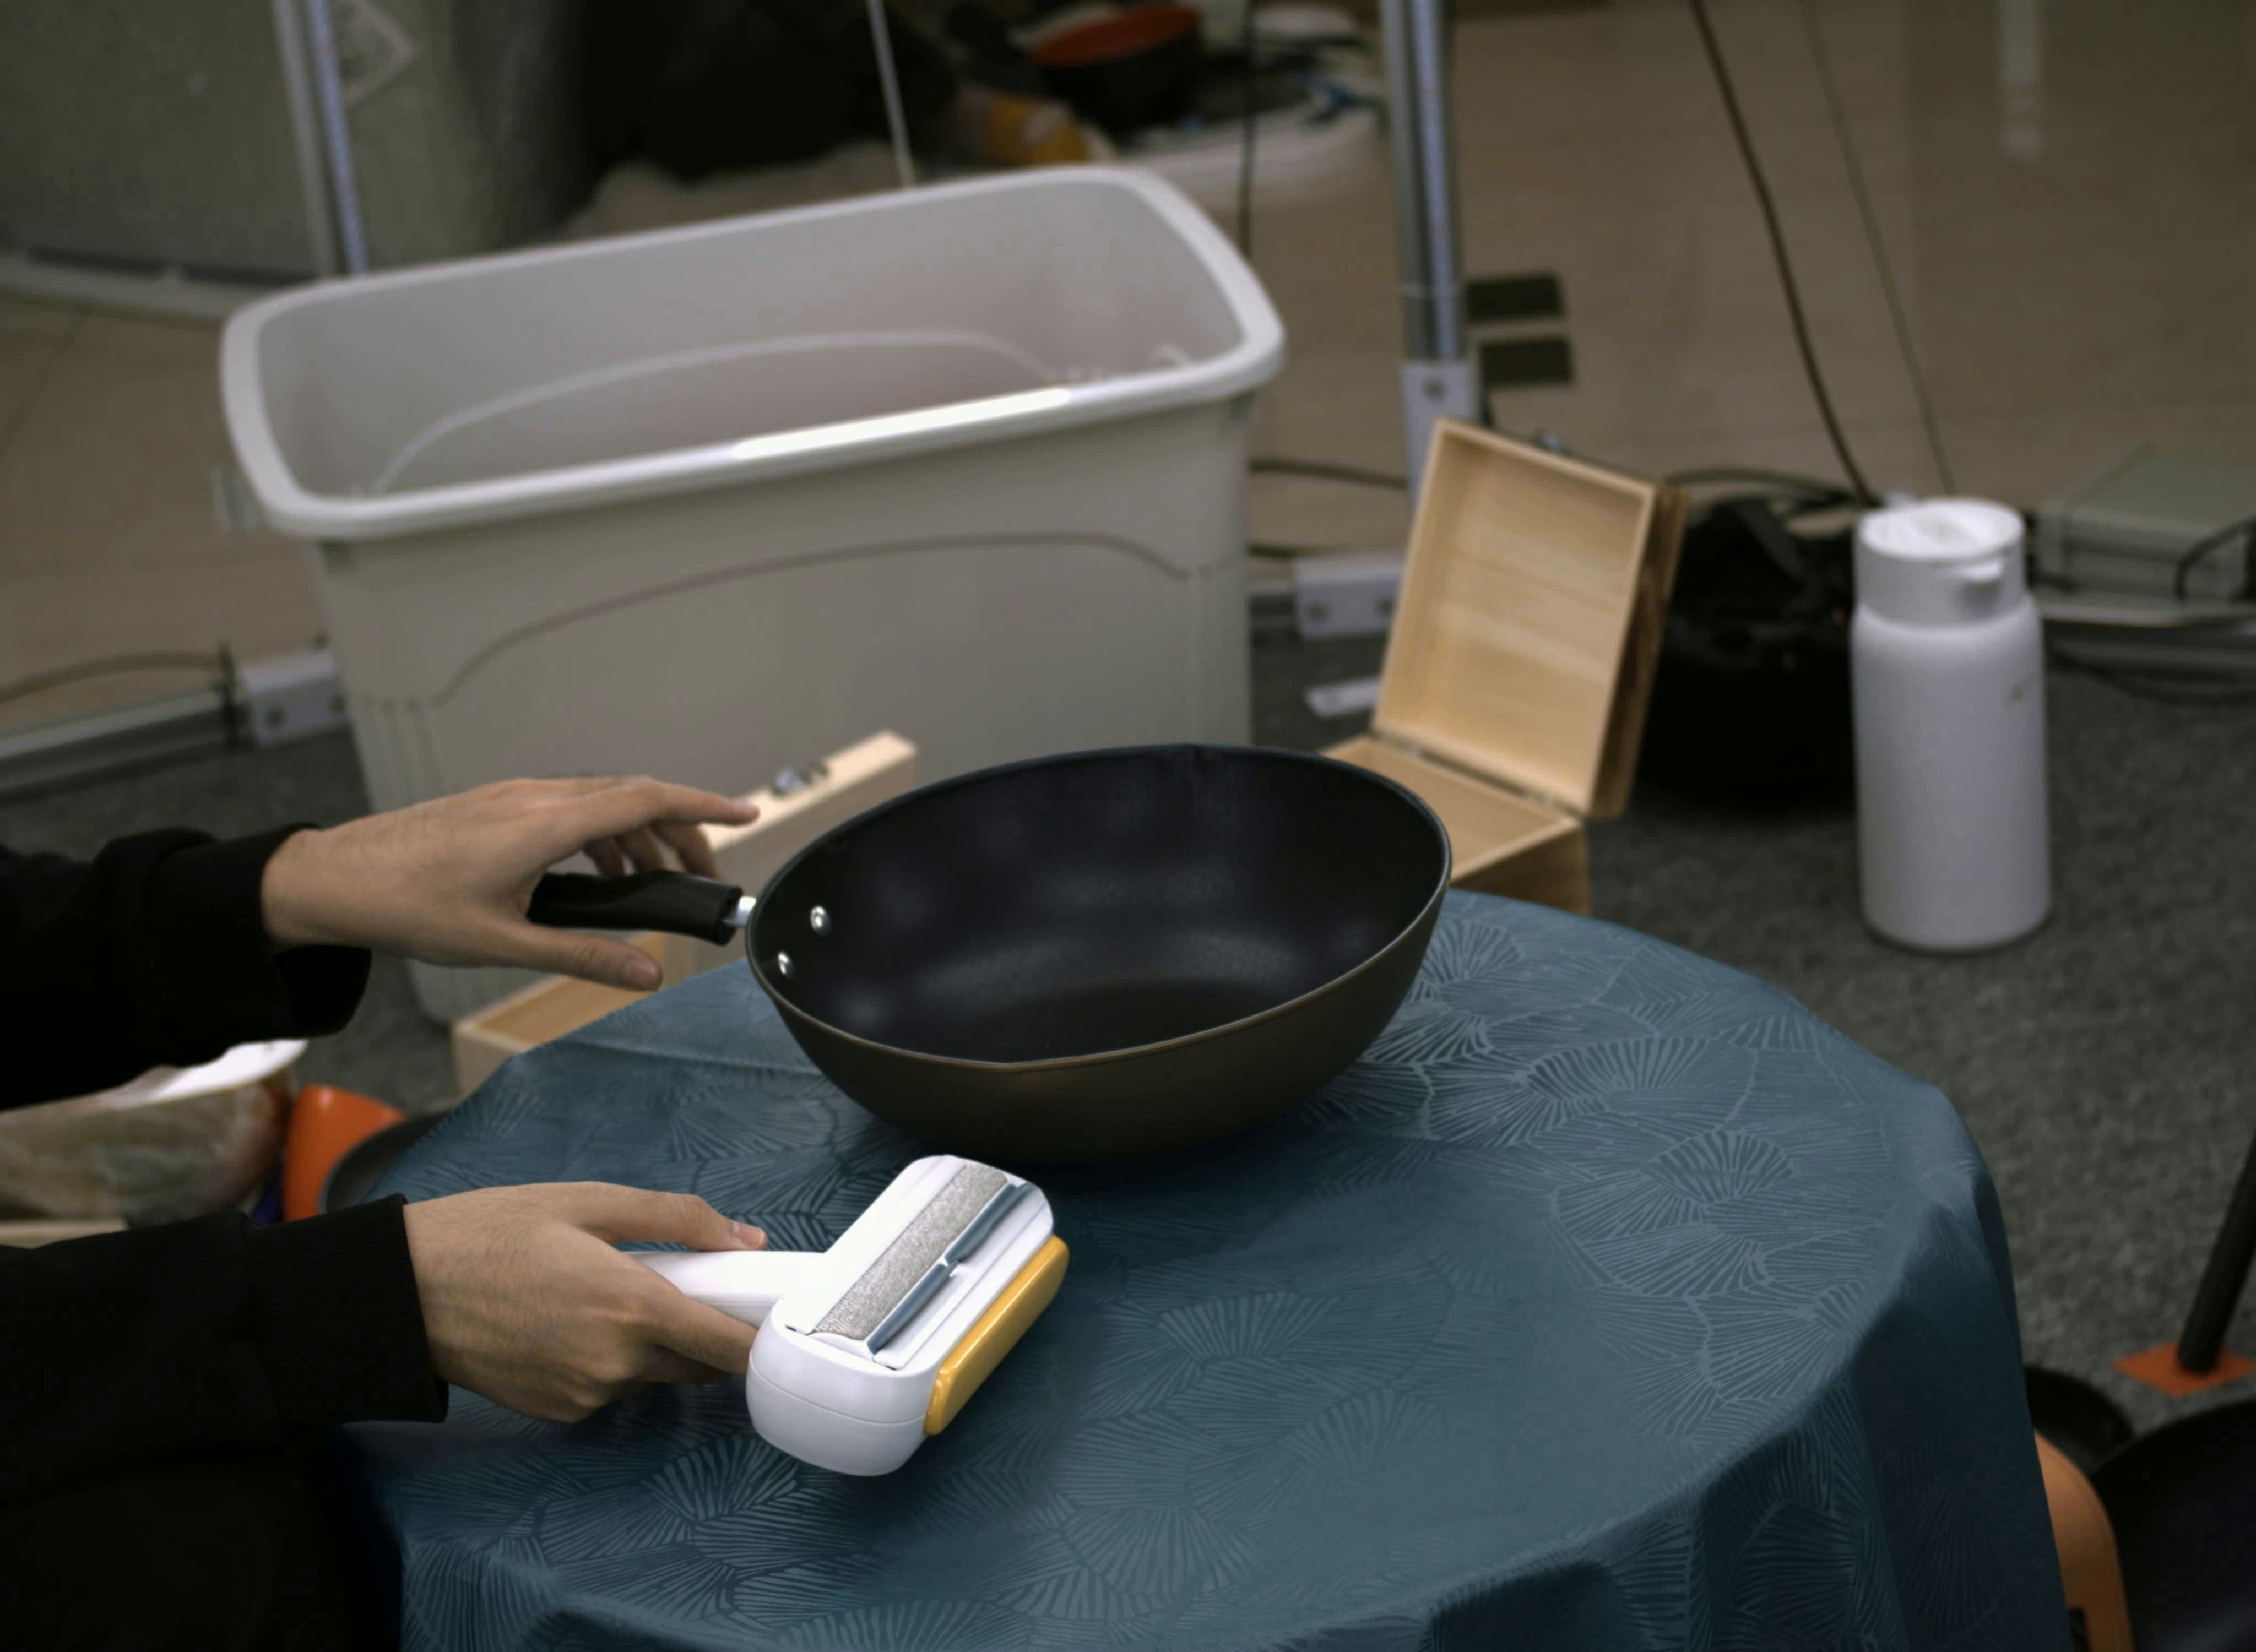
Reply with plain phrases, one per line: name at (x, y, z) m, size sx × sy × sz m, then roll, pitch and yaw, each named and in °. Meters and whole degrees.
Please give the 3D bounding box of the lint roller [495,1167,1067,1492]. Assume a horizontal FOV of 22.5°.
lint roller at (-0.135, 0.167, 2.012) m, size 0.191 × 0.075 × 0.190 m, roll 13°, pitch 25°, yaw 17°

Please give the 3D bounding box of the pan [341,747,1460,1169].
pan at (-0.093, 0.060, 2.238) m, size 0.462 × 0.088 × 0.284 m, roll 0°, pitch 26°, yaw 17°
